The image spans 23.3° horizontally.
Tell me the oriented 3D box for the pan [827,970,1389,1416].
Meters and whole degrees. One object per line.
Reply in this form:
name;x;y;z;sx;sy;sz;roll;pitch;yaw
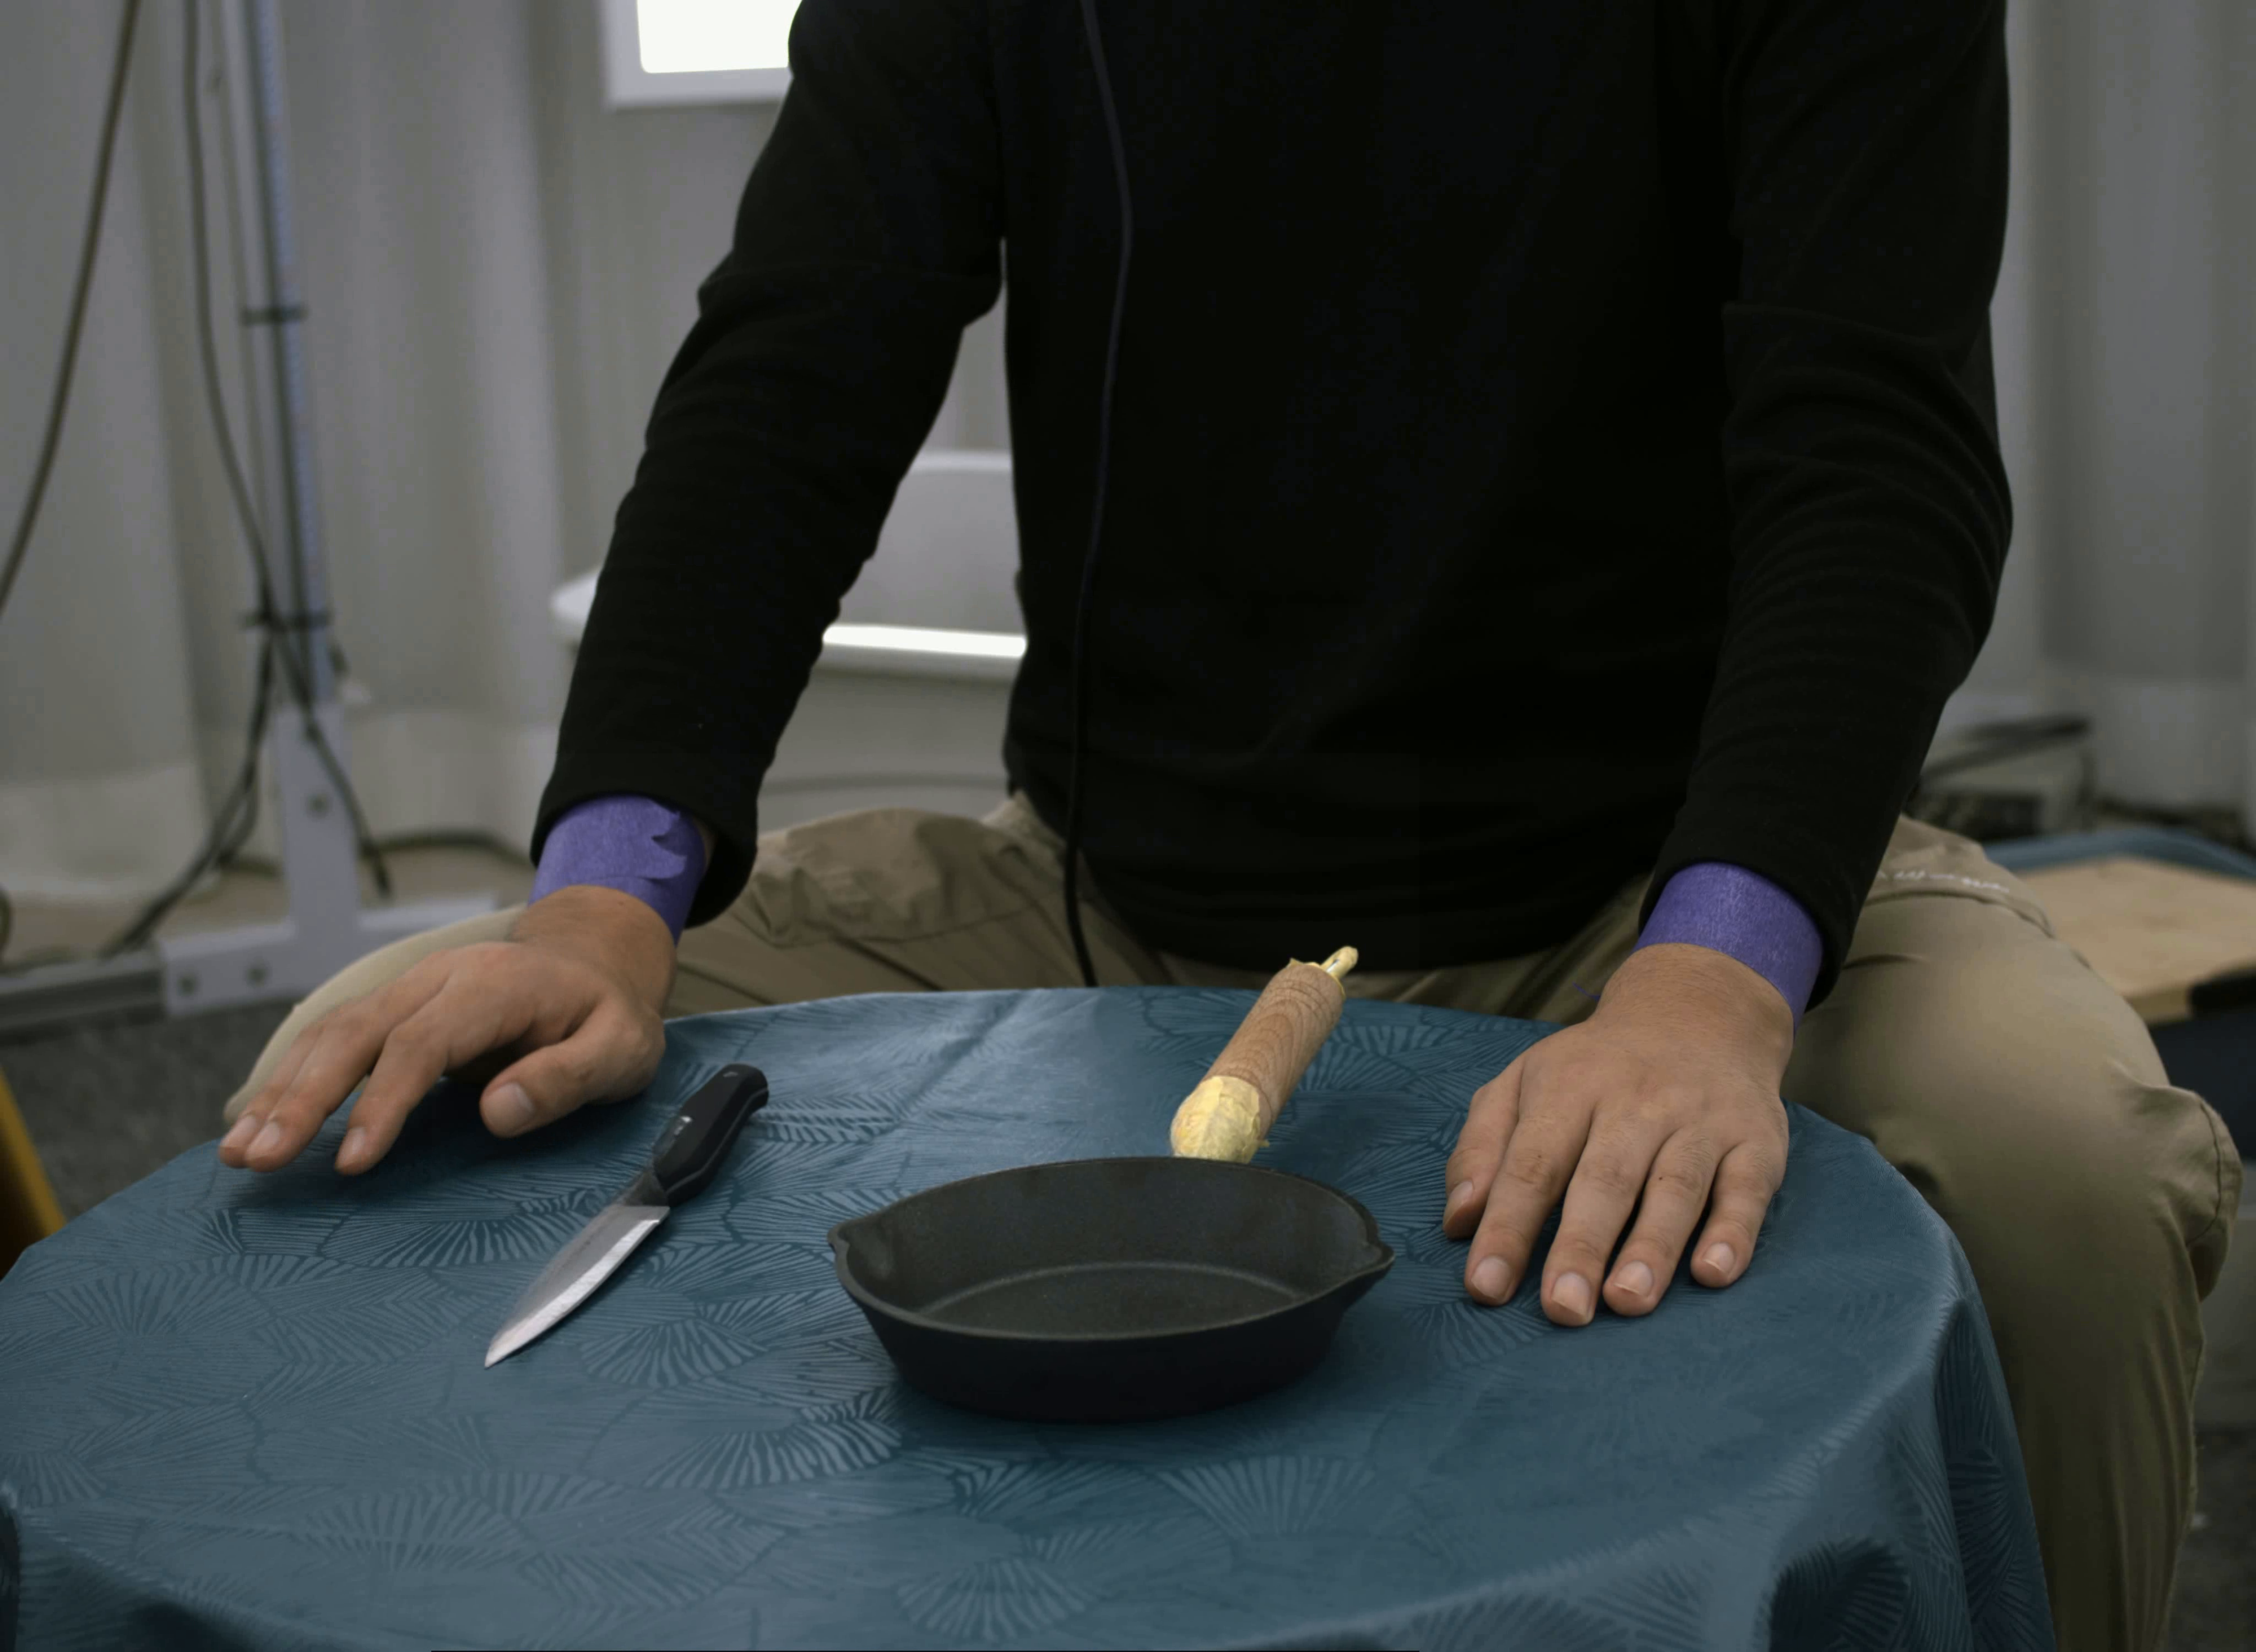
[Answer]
pan;0.021;0.107;1.650;0.169;0.049;0.325;3;15;19

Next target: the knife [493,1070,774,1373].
knife;-0.156;0.122;1.697;0.024;0.016;0.239;2;18;15
